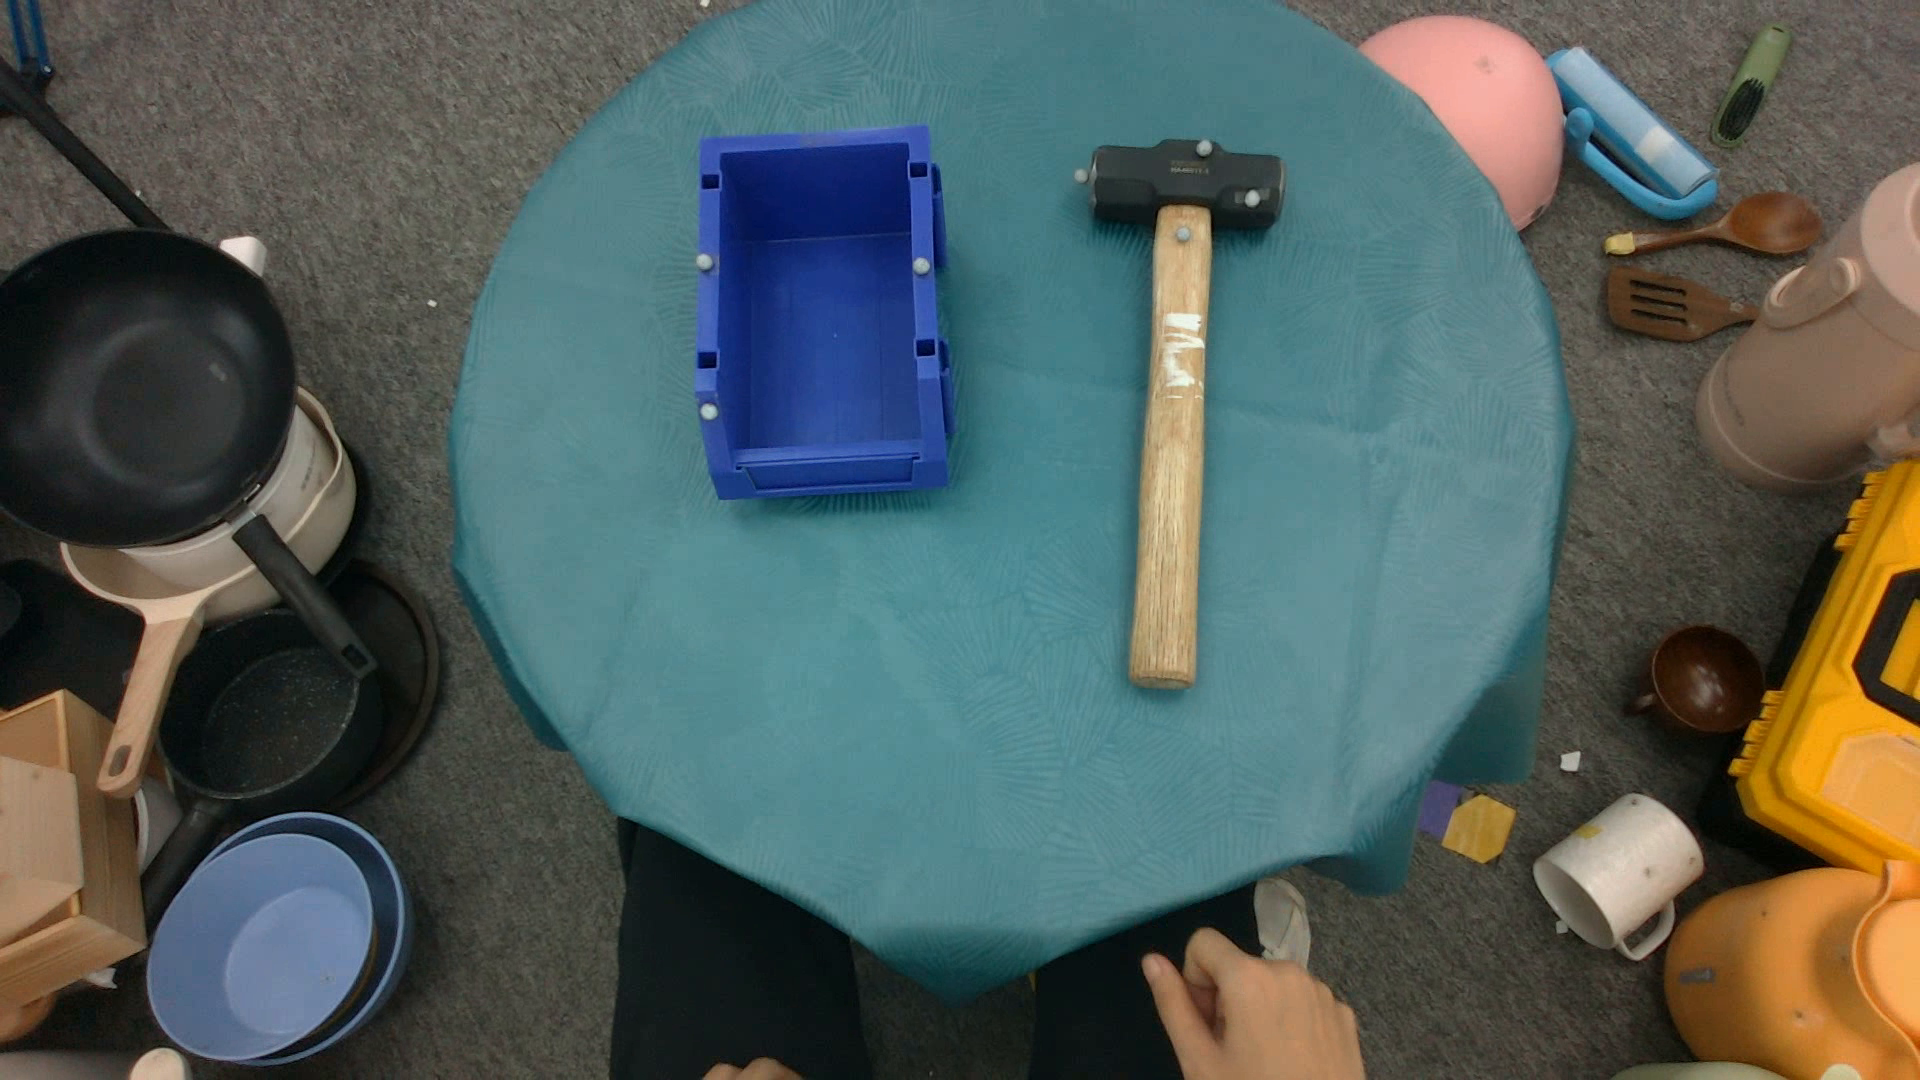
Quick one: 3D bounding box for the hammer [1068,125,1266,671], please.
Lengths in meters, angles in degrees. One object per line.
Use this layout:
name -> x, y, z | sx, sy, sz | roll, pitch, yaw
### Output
hammer -> 0.098, -0.081, 0.724 | 0.107, 0.038, 0.306 | 6, 70, 3

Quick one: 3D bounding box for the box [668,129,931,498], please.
box -> -0.079, -0.114, 0.715 | 0.124, 0.081, 0.180 | -2, 66, 0
